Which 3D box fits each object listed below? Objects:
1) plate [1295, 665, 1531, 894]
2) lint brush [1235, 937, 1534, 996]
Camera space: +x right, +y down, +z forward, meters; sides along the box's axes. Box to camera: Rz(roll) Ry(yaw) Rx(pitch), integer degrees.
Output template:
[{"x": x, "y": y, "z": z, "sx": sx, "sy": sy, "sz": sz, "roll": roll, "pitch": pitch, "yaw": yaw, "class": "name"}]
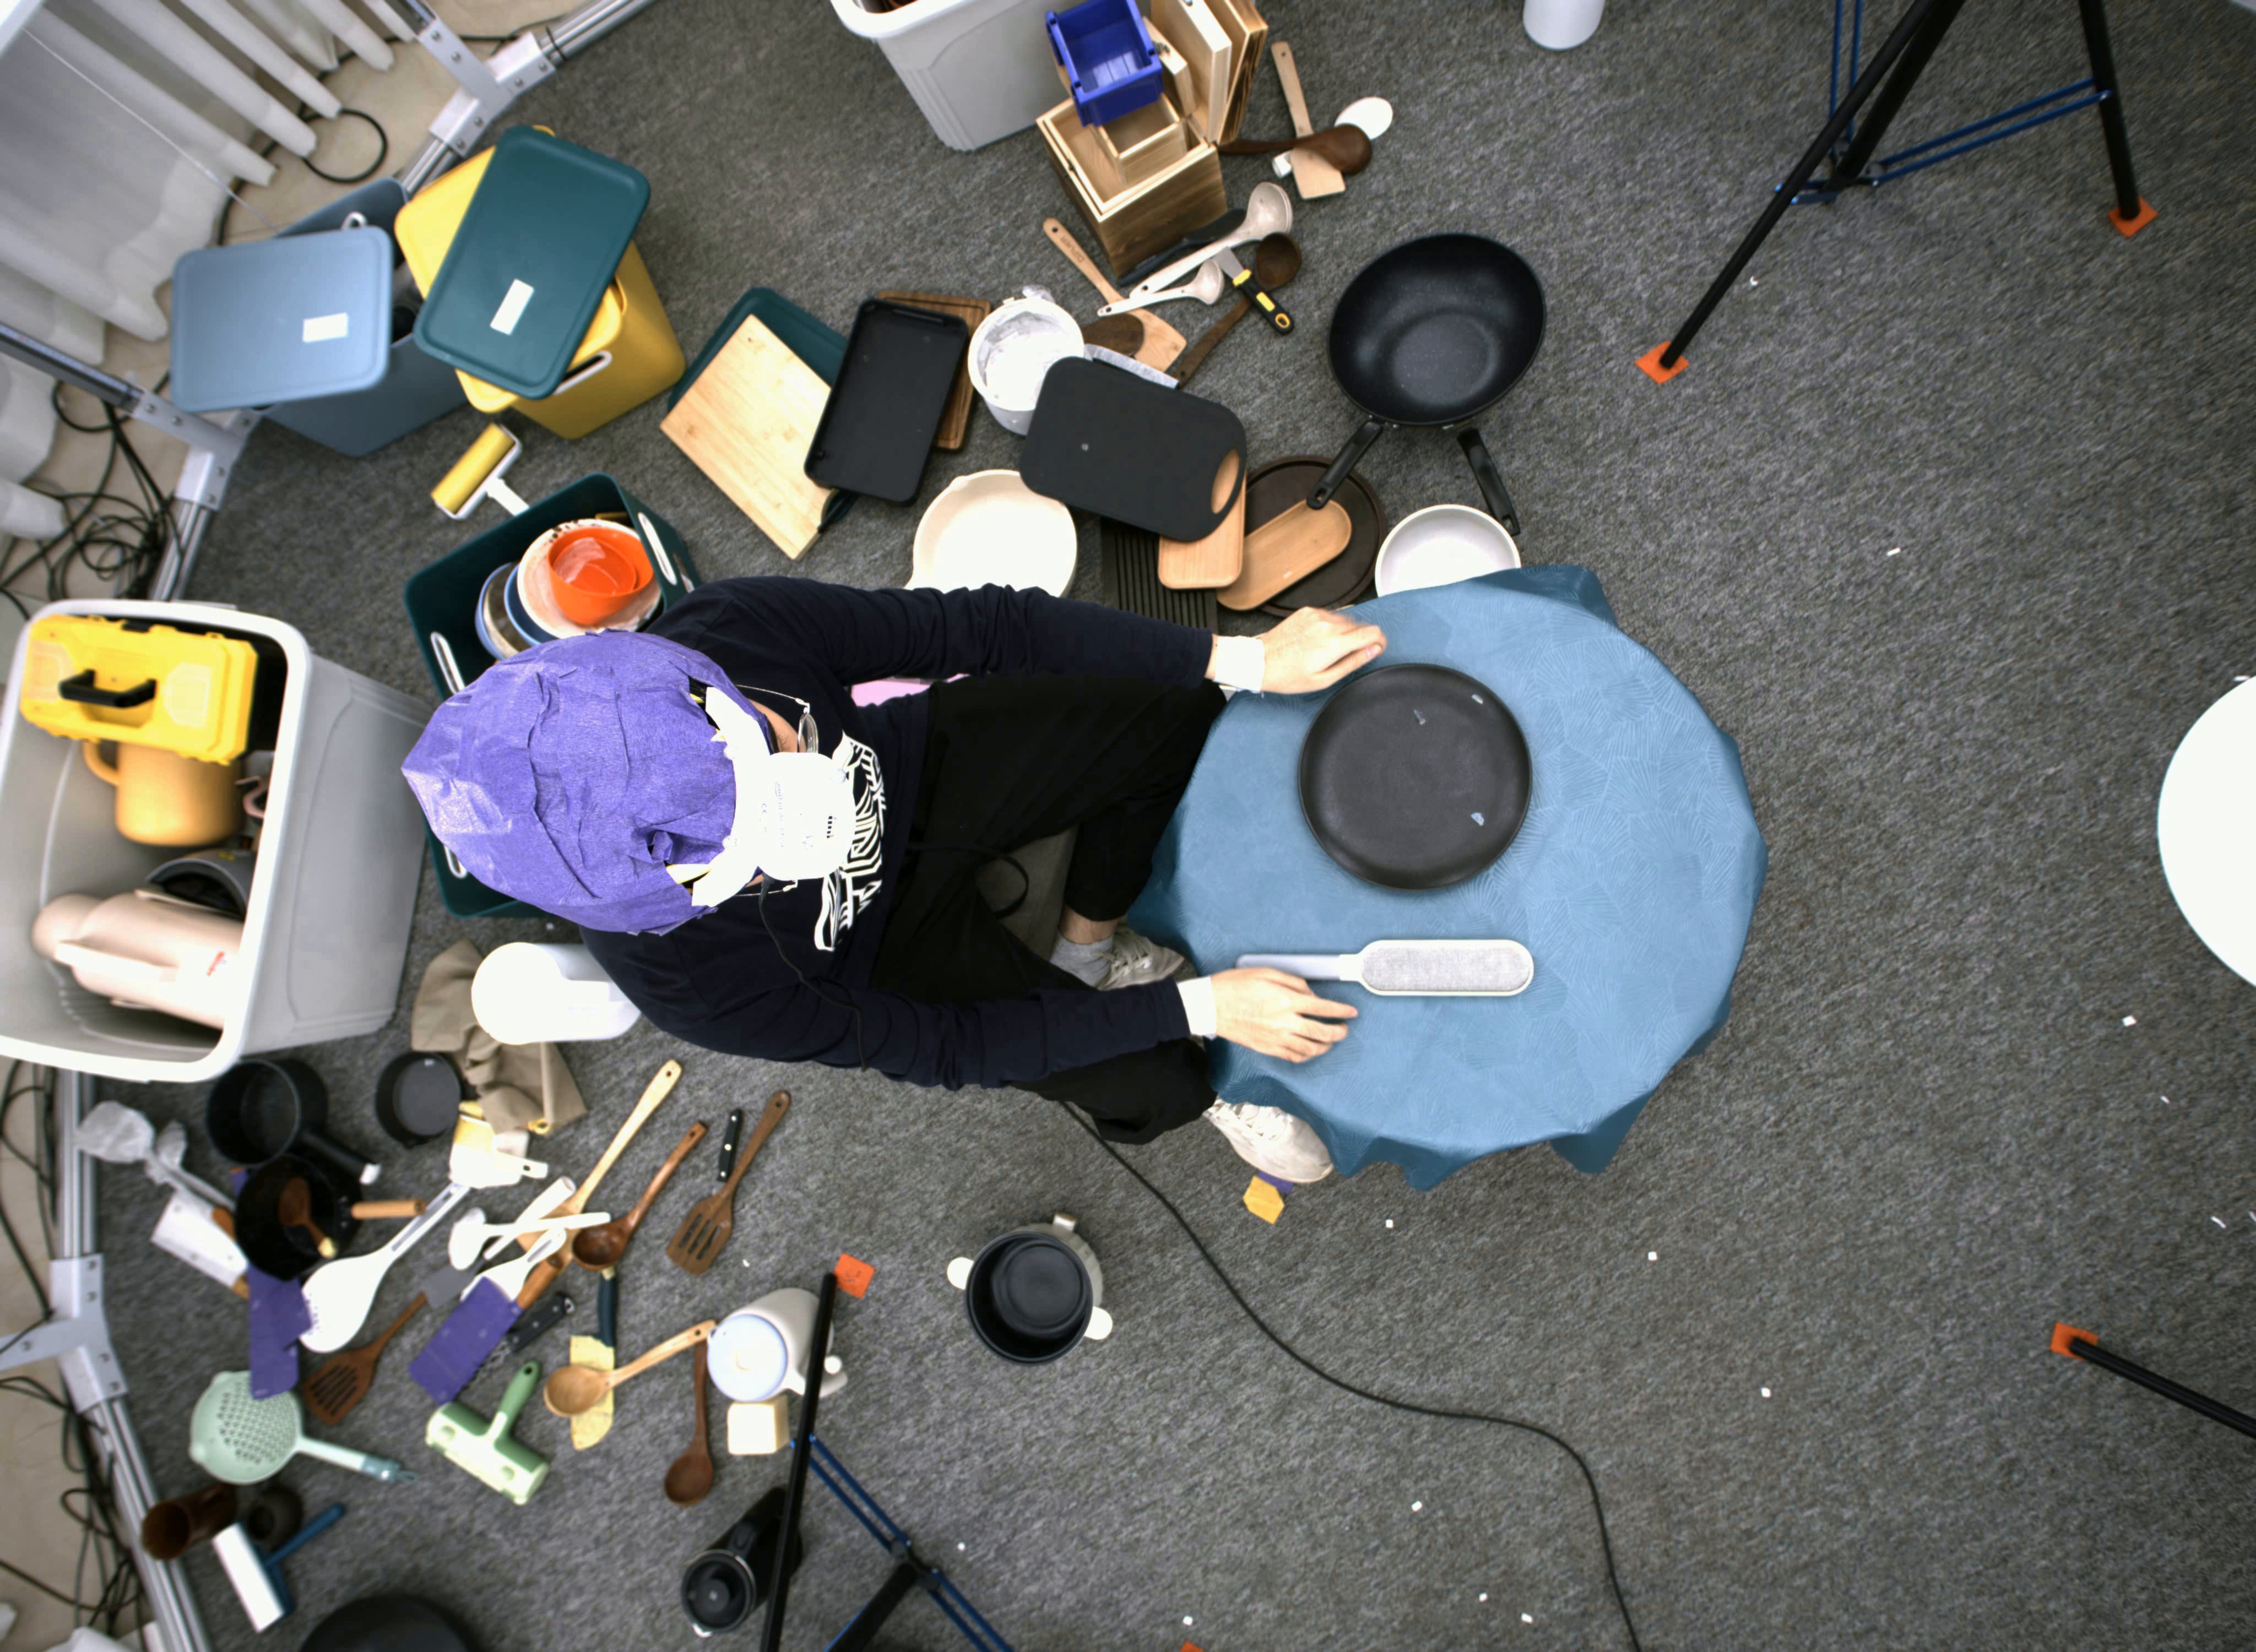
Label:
[{"x": 0.300, "y": -0.050, "z": 1.449, "sx": 0.245, "sy": 0.023, "sz": 0.243, "roll": -1, "pitch": 86, "yaw": 11, "class": "plate"}, {"x": 0.266, "y": 0.144, "z": 1.443, "sx": 0.310, "sy": 0.021, "sz": 0.060, "roll": -1, "pitch": 92, "yaw": 11, "class": "lint brush"}]
